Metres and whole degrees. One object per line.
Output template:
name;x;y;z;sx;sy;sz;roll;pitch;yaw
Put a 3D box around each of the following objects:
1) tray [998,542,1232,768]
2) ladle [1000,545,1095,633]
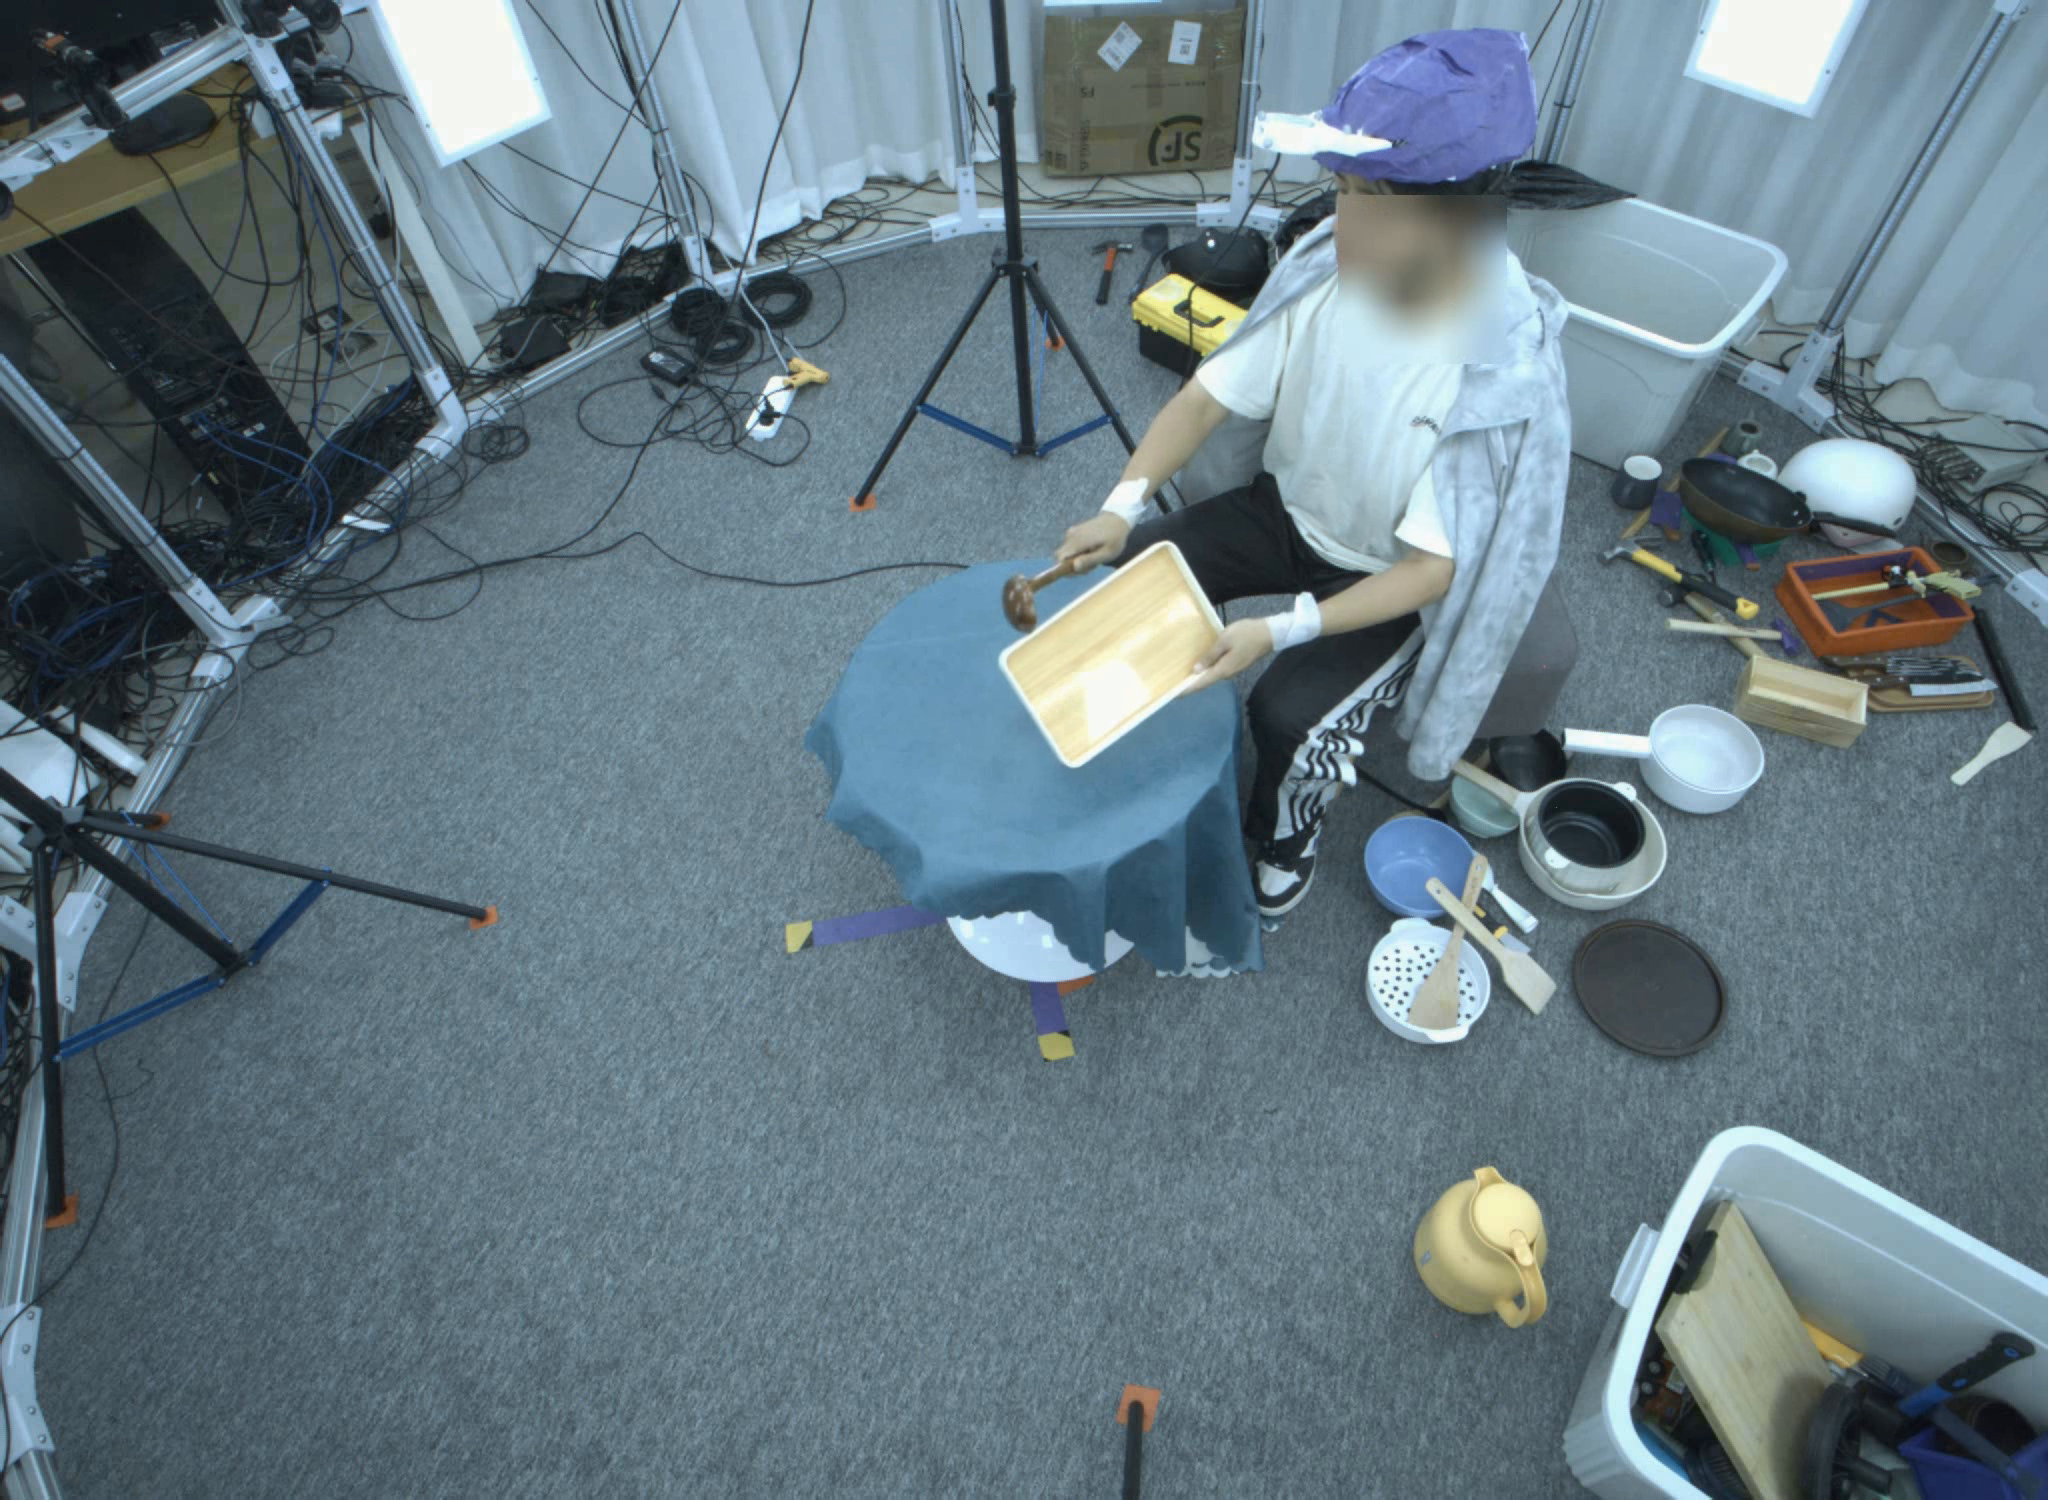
tray;0.128;-0.132;1.695;0.301;0.194;0.027;-36;17;-12
ladle;0.052;-0.239;1.717;0.075;0.082;0.277;18;33;29
